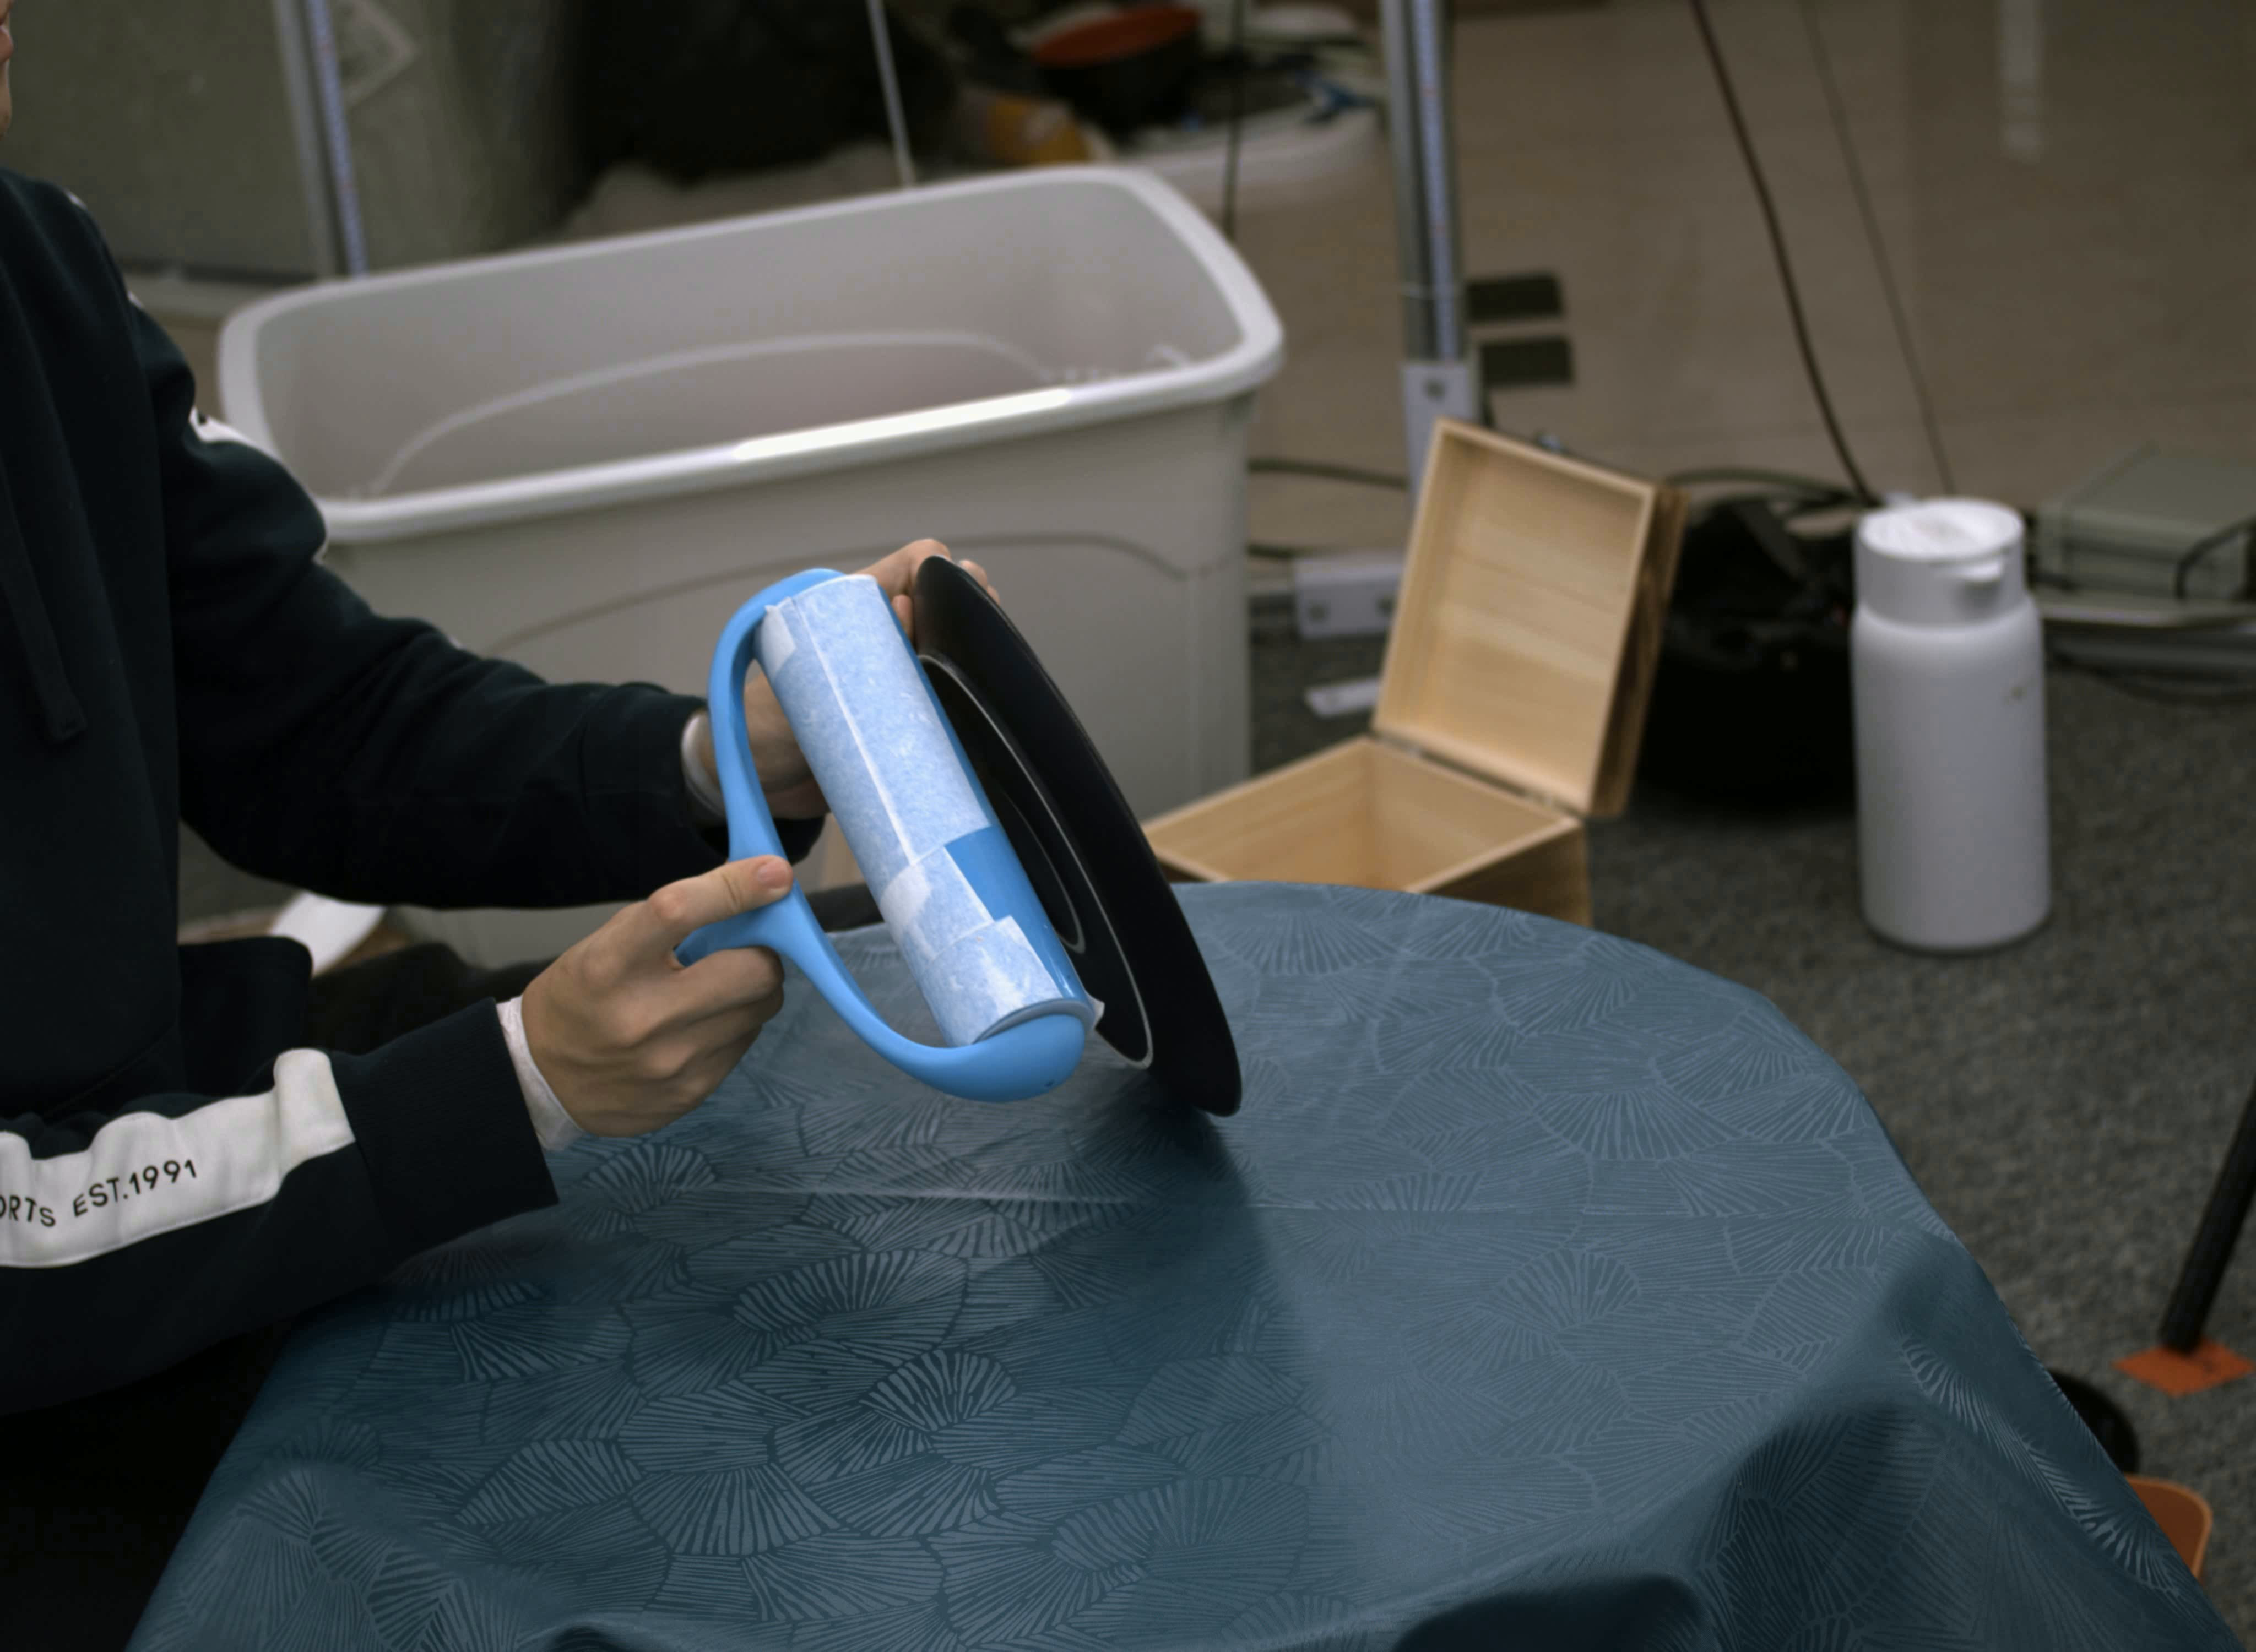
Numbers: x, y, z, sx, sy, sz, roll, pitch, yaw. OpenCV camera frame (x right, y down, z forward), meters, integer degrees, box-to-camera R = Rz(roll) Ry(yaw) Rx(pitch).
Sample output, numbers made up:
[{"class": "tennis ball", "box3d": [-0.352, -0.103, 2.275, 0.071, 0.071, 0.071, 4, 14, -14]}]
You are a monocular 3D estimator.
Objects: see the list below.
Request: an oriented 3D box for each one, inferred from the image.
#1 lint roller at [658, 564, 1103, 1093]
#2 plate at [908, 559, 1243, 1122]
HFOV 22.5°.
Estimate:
[{"class": "lint roller", "box3d": [-0.117, 0.034, 2.077, 0.068, 0.181, 0.226, 17, 37, -58]}, {"class": "plate", "box3d": [-0.028, 0.010, 2.153, 0.023, 0.248, 0.241, -30, 30, -12]}]
